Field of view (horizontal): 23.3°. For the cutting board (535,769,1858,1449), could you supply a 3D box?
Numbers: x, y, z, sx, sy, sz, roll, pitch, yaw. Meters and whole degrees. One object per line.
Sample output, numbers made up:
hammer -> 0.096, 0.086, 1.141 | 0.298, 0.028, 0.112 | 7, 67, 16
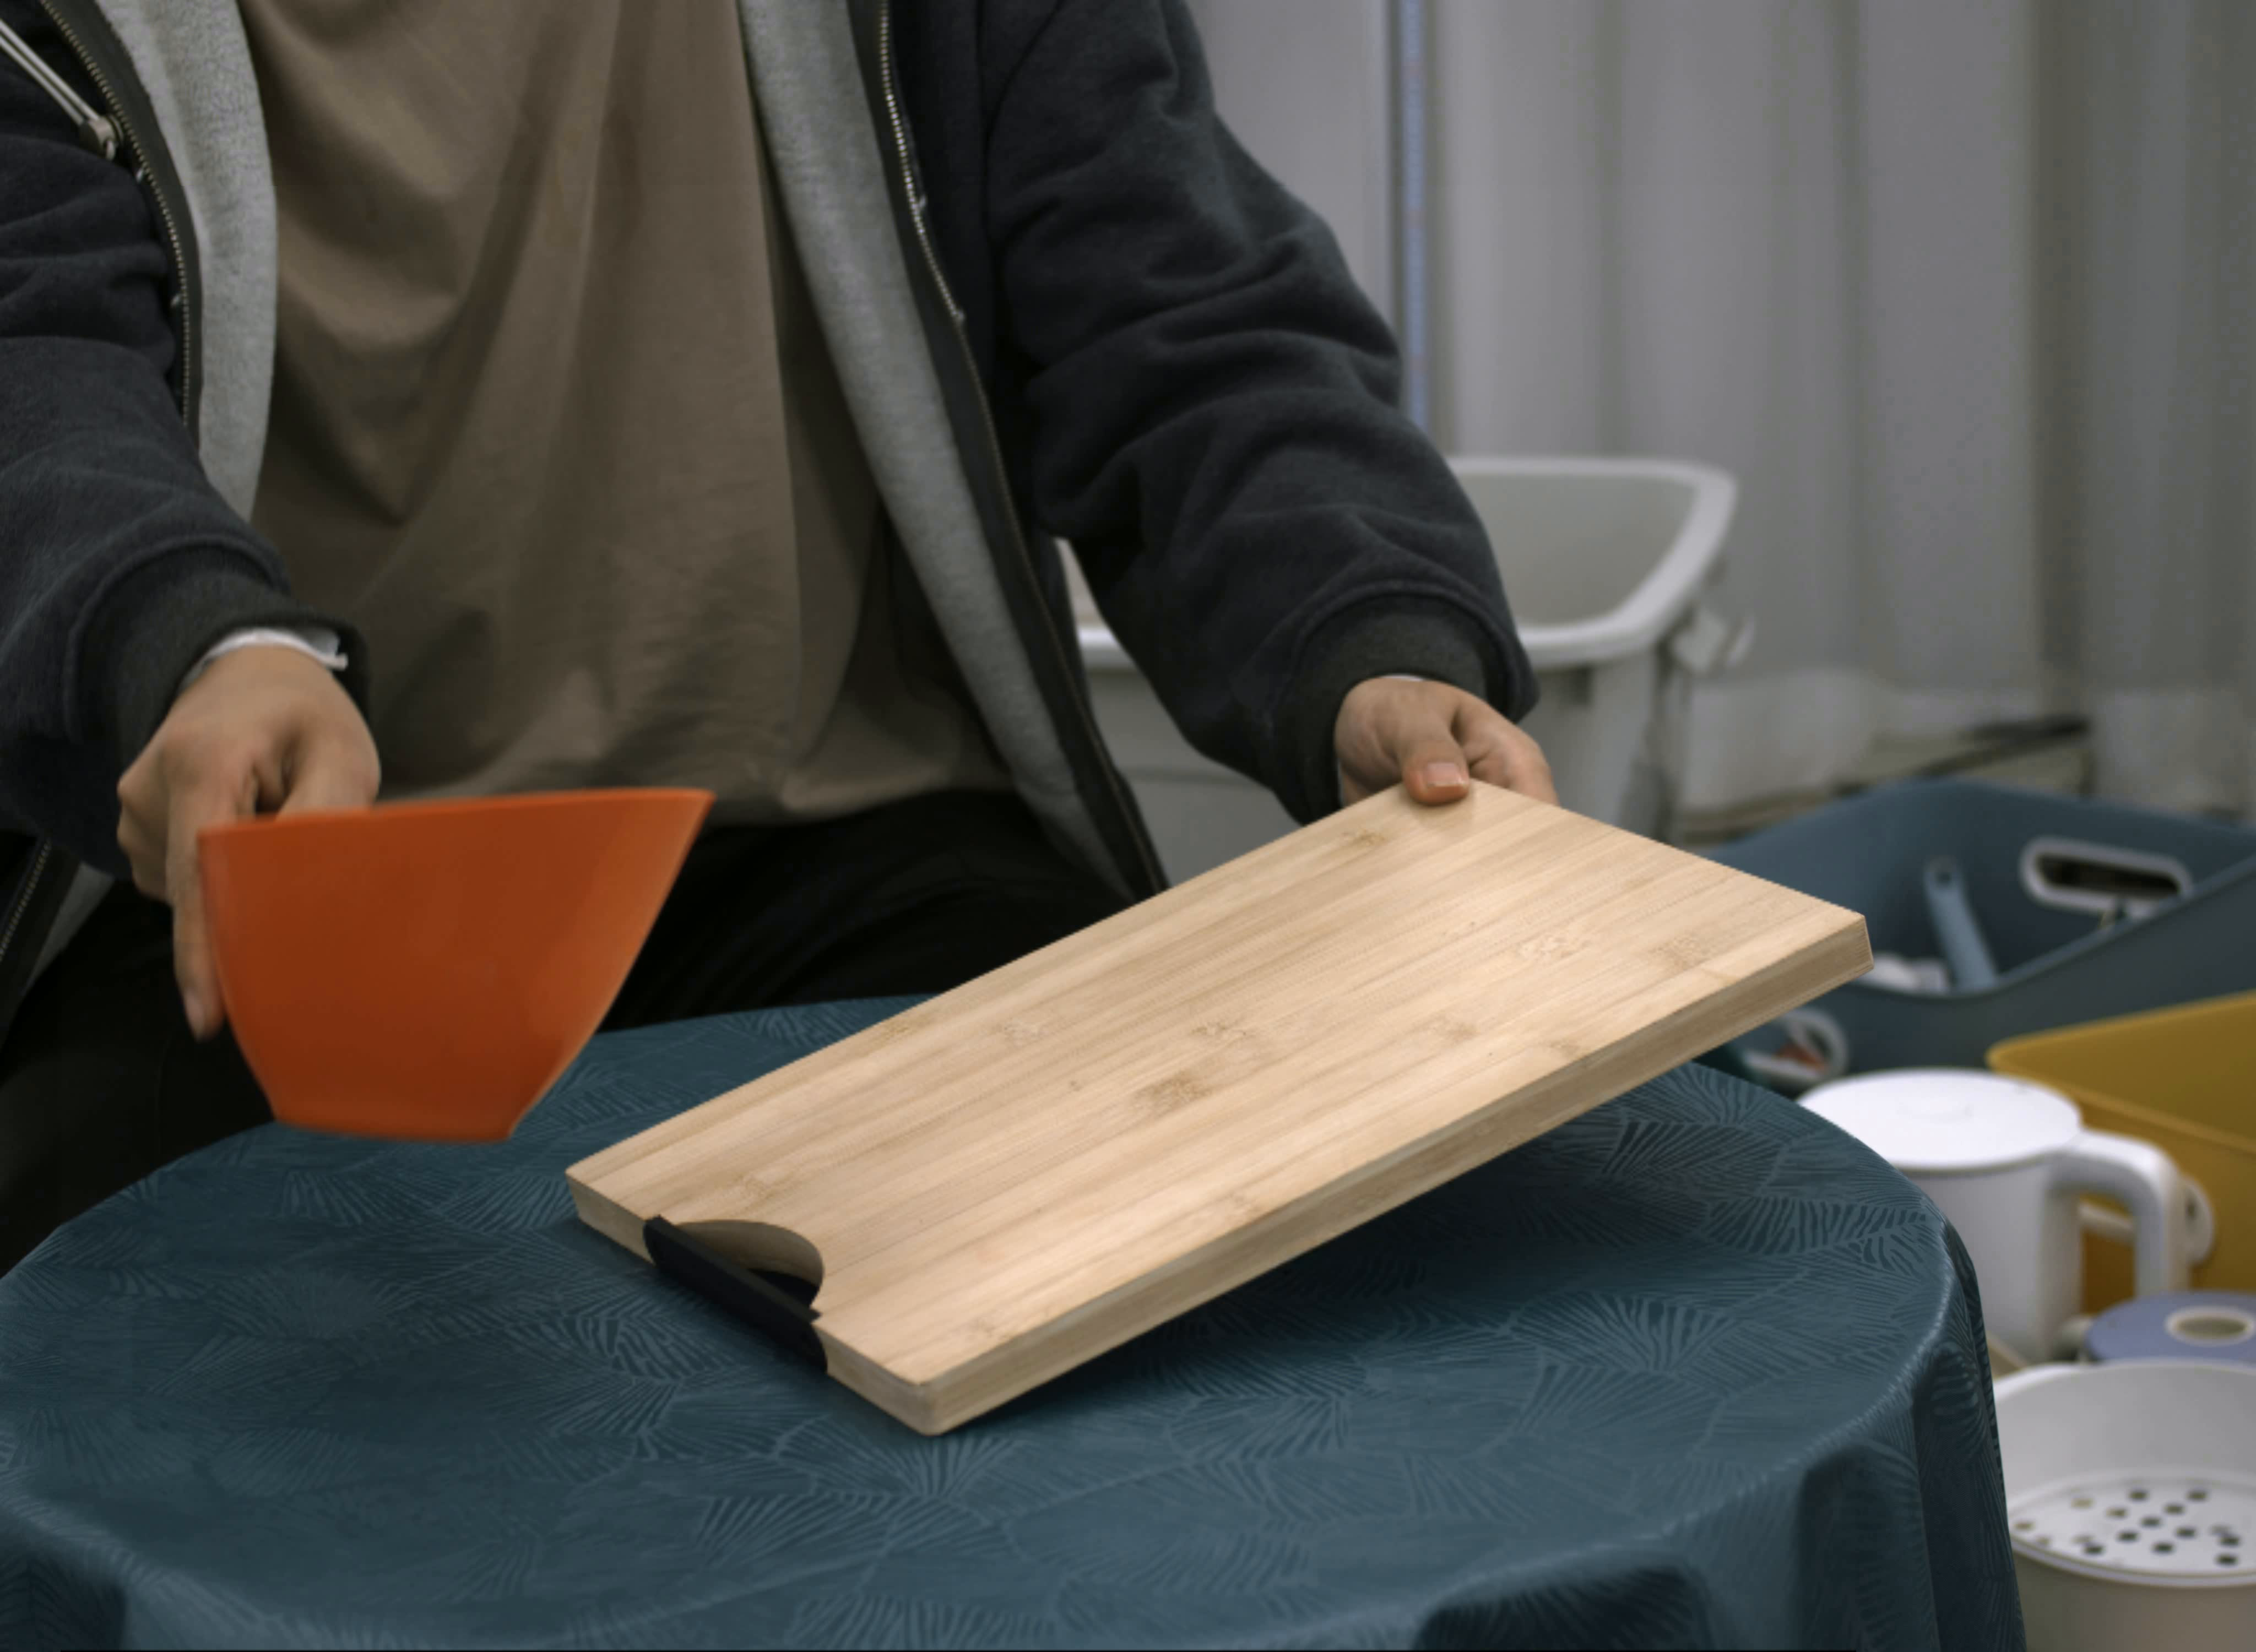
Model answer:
cutting board -> 0.020, 0.078, 1.681 | 0.348, 0.023, 0.252 | -24, 22, -24

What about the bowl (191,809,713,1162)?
bowl -> -0.196, 0.041, 1.563 | 0.147, 0.105, 0.148 | 4, 3, 0
